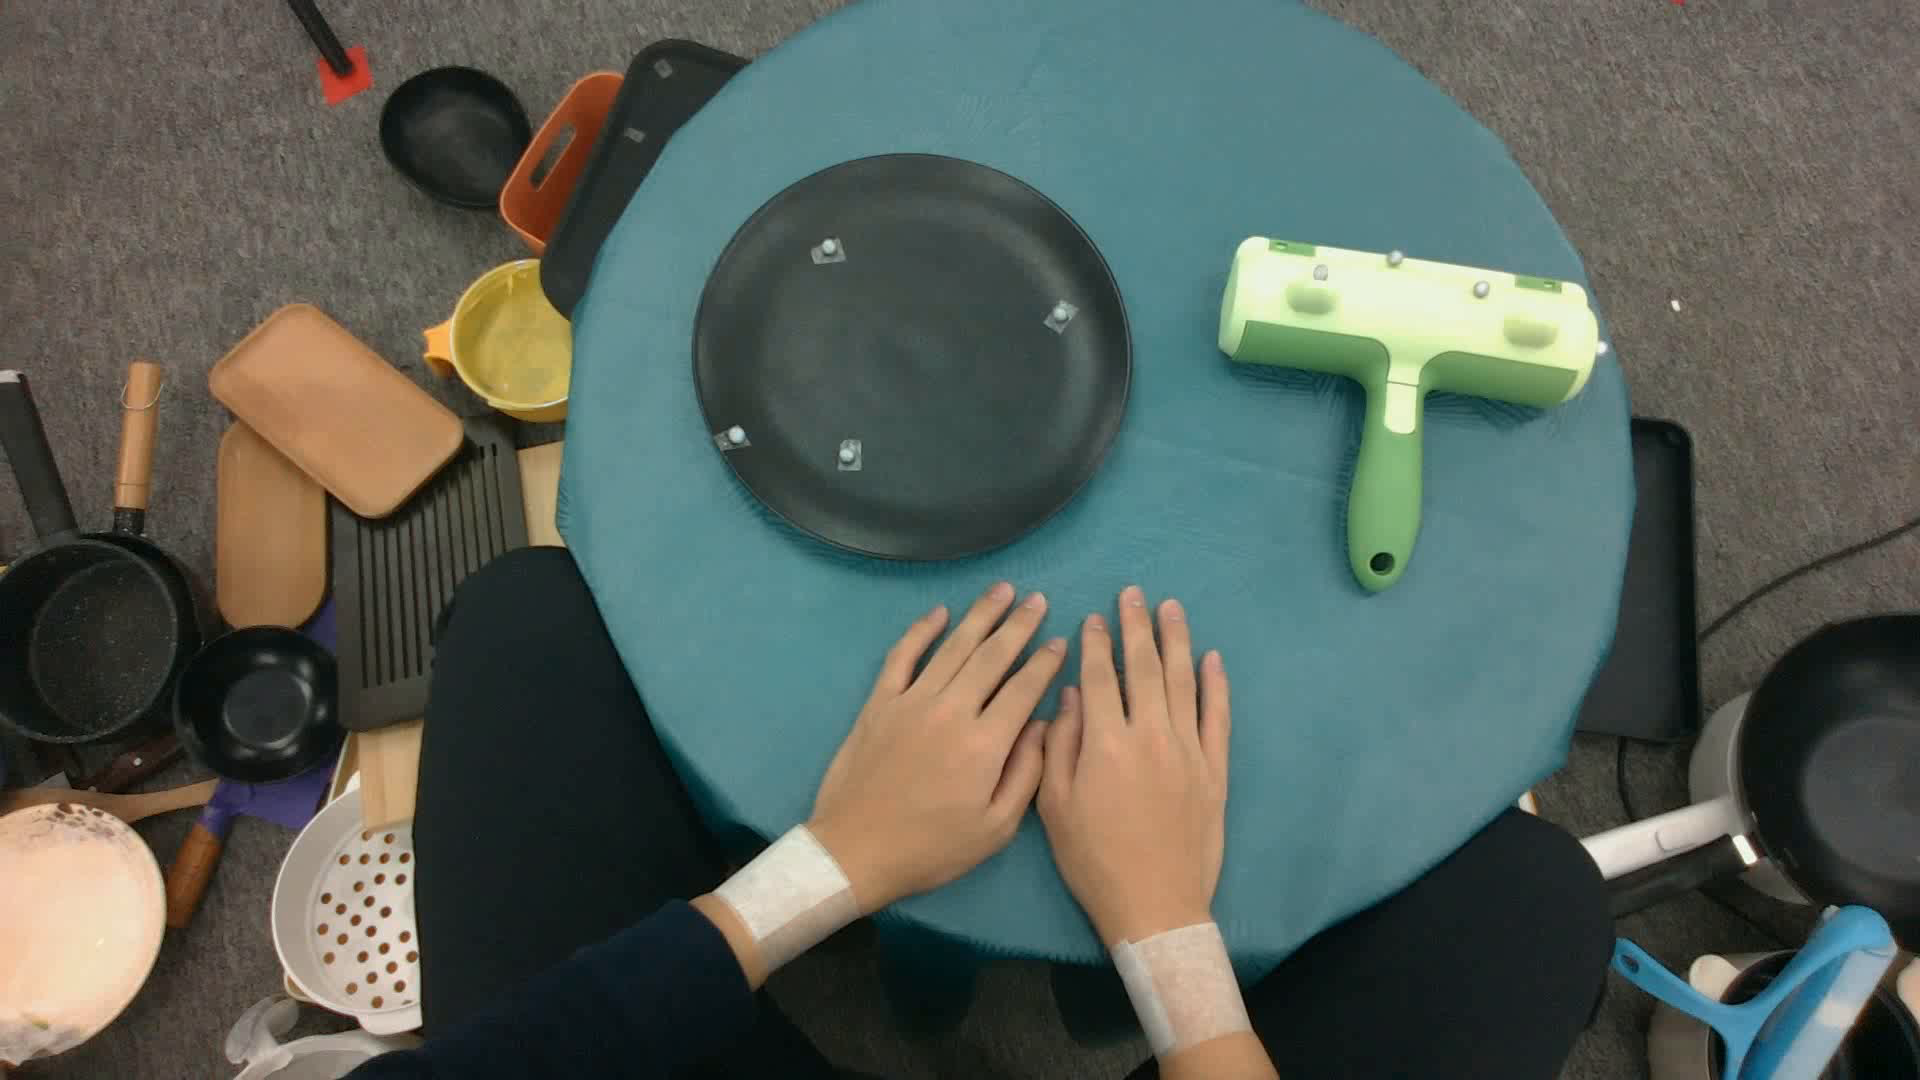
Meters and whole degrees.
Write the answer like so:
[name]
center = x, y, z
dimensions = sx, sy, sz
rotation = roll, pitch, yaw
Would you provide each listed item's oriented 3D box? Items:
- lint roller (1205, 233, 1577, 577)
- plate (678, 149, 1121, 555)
[lint roller]
center = 0.231, -0.076, 0.738
dimensions = 0.198, 0.082, 0.184
rotation = 7, 67, 1
[plate]
center = -0.033, -0.106, 0.766
dimensions = 0.244, 0.023, 0.245
rotation = 1, 73, -2
